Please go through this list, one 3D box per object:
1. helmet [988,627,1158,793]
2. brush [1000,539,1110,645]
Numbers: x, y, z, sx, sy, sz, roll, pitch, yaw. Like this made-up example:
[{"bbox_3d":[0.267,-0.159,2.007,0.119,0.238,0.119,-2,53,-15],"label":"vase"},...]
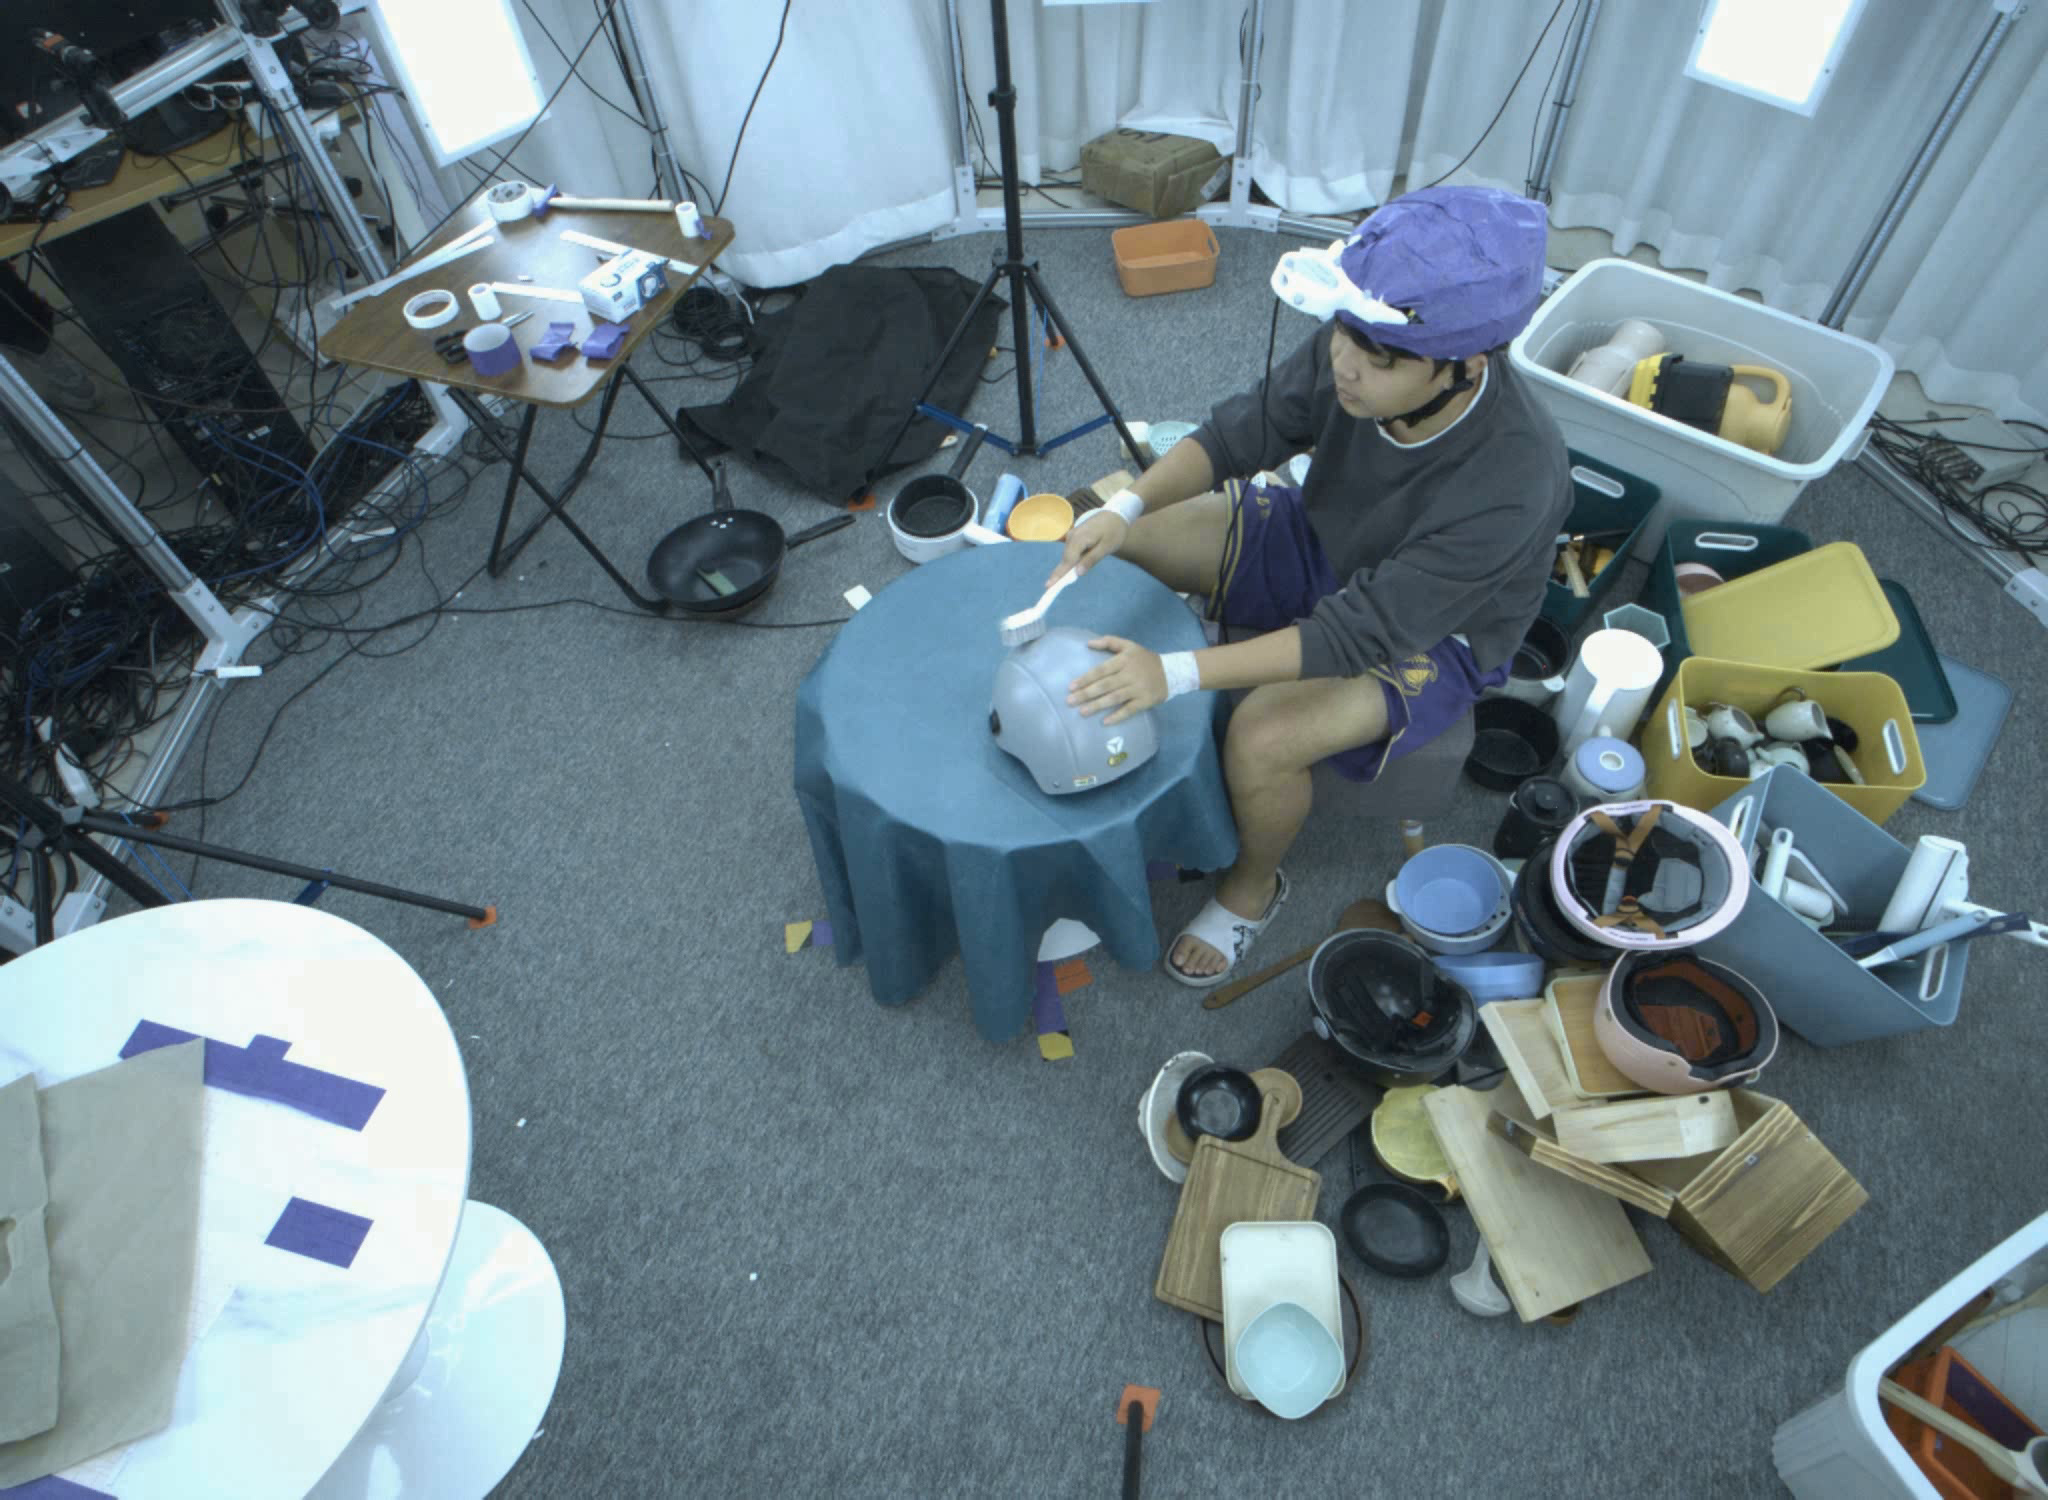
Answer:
[{"bbox_3d":[0.065,-0.082,1.747,0.234,0.170,0.271,-26,56,-17],"label":"helmet"},{"bbox_3d":[0.052,-0.225,1.769,0.033,0.051,0.245,5,40,49],"label":"brush"}]
